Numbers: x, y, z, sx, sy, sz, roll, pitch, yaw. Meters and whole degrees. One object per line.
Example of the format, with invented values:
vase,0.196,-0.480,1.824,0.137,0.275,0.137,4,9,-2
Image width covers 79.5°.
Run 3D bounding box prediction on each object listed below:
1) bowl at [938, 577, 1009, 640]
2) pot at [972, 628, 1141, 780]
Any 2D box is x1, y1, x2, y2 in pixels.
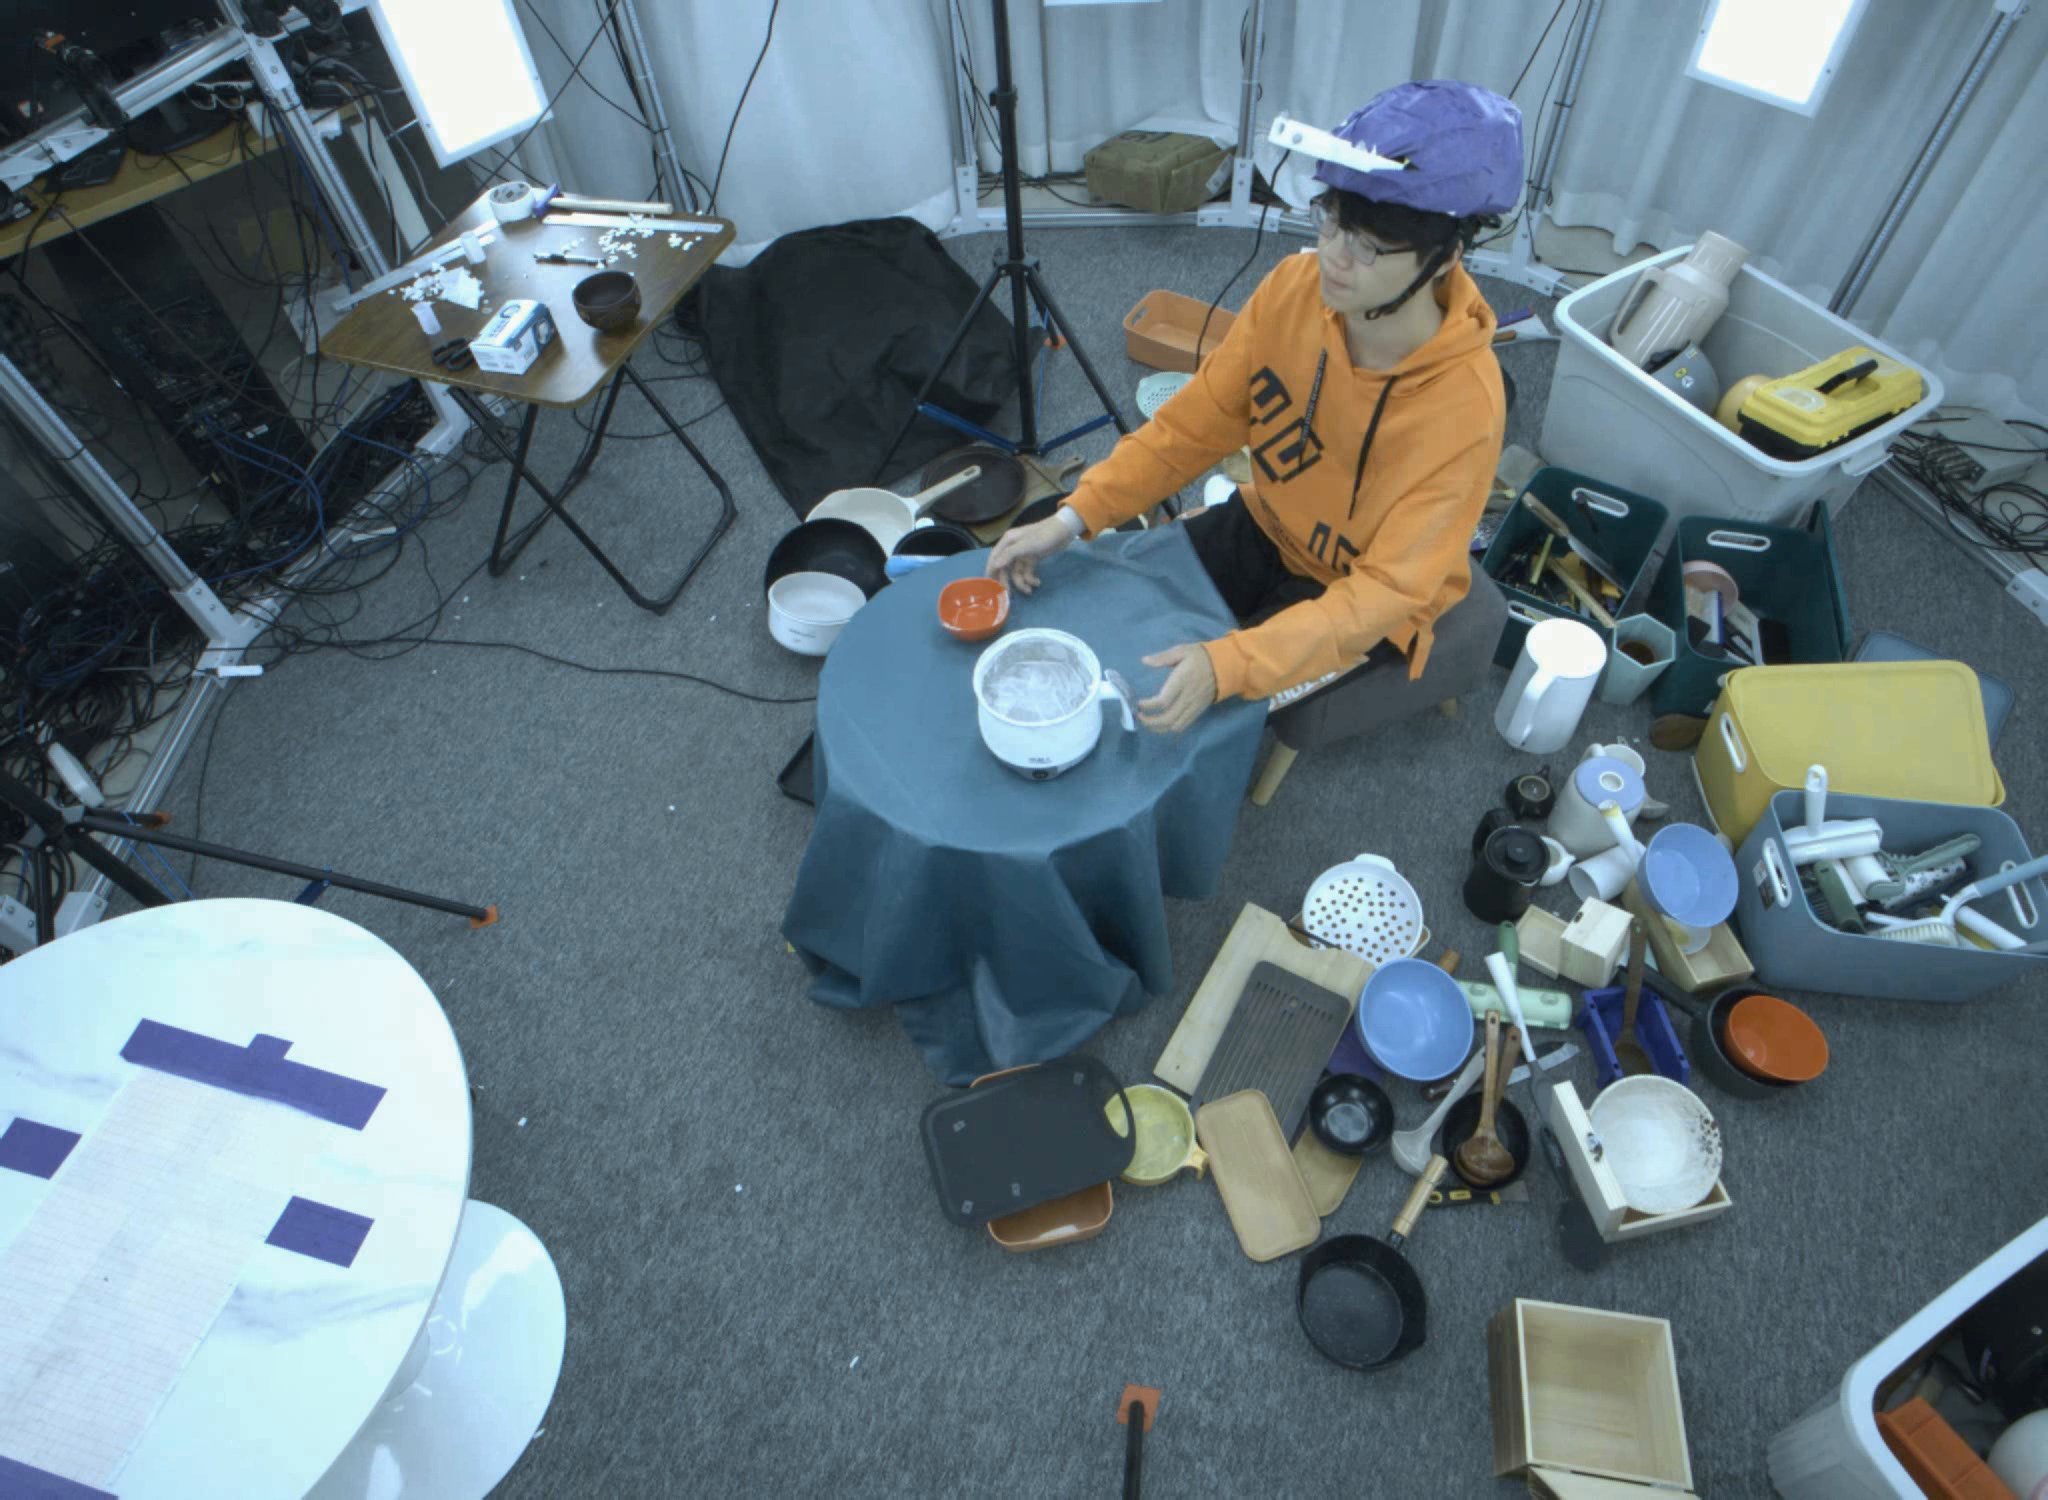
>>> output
bowl,-0.076,-0.213,1.909,0.119,0.052,0.117,-1,54,3
pot,0.048,-0.066,1.747,0.233,0.138,0.177,-3,55,1
